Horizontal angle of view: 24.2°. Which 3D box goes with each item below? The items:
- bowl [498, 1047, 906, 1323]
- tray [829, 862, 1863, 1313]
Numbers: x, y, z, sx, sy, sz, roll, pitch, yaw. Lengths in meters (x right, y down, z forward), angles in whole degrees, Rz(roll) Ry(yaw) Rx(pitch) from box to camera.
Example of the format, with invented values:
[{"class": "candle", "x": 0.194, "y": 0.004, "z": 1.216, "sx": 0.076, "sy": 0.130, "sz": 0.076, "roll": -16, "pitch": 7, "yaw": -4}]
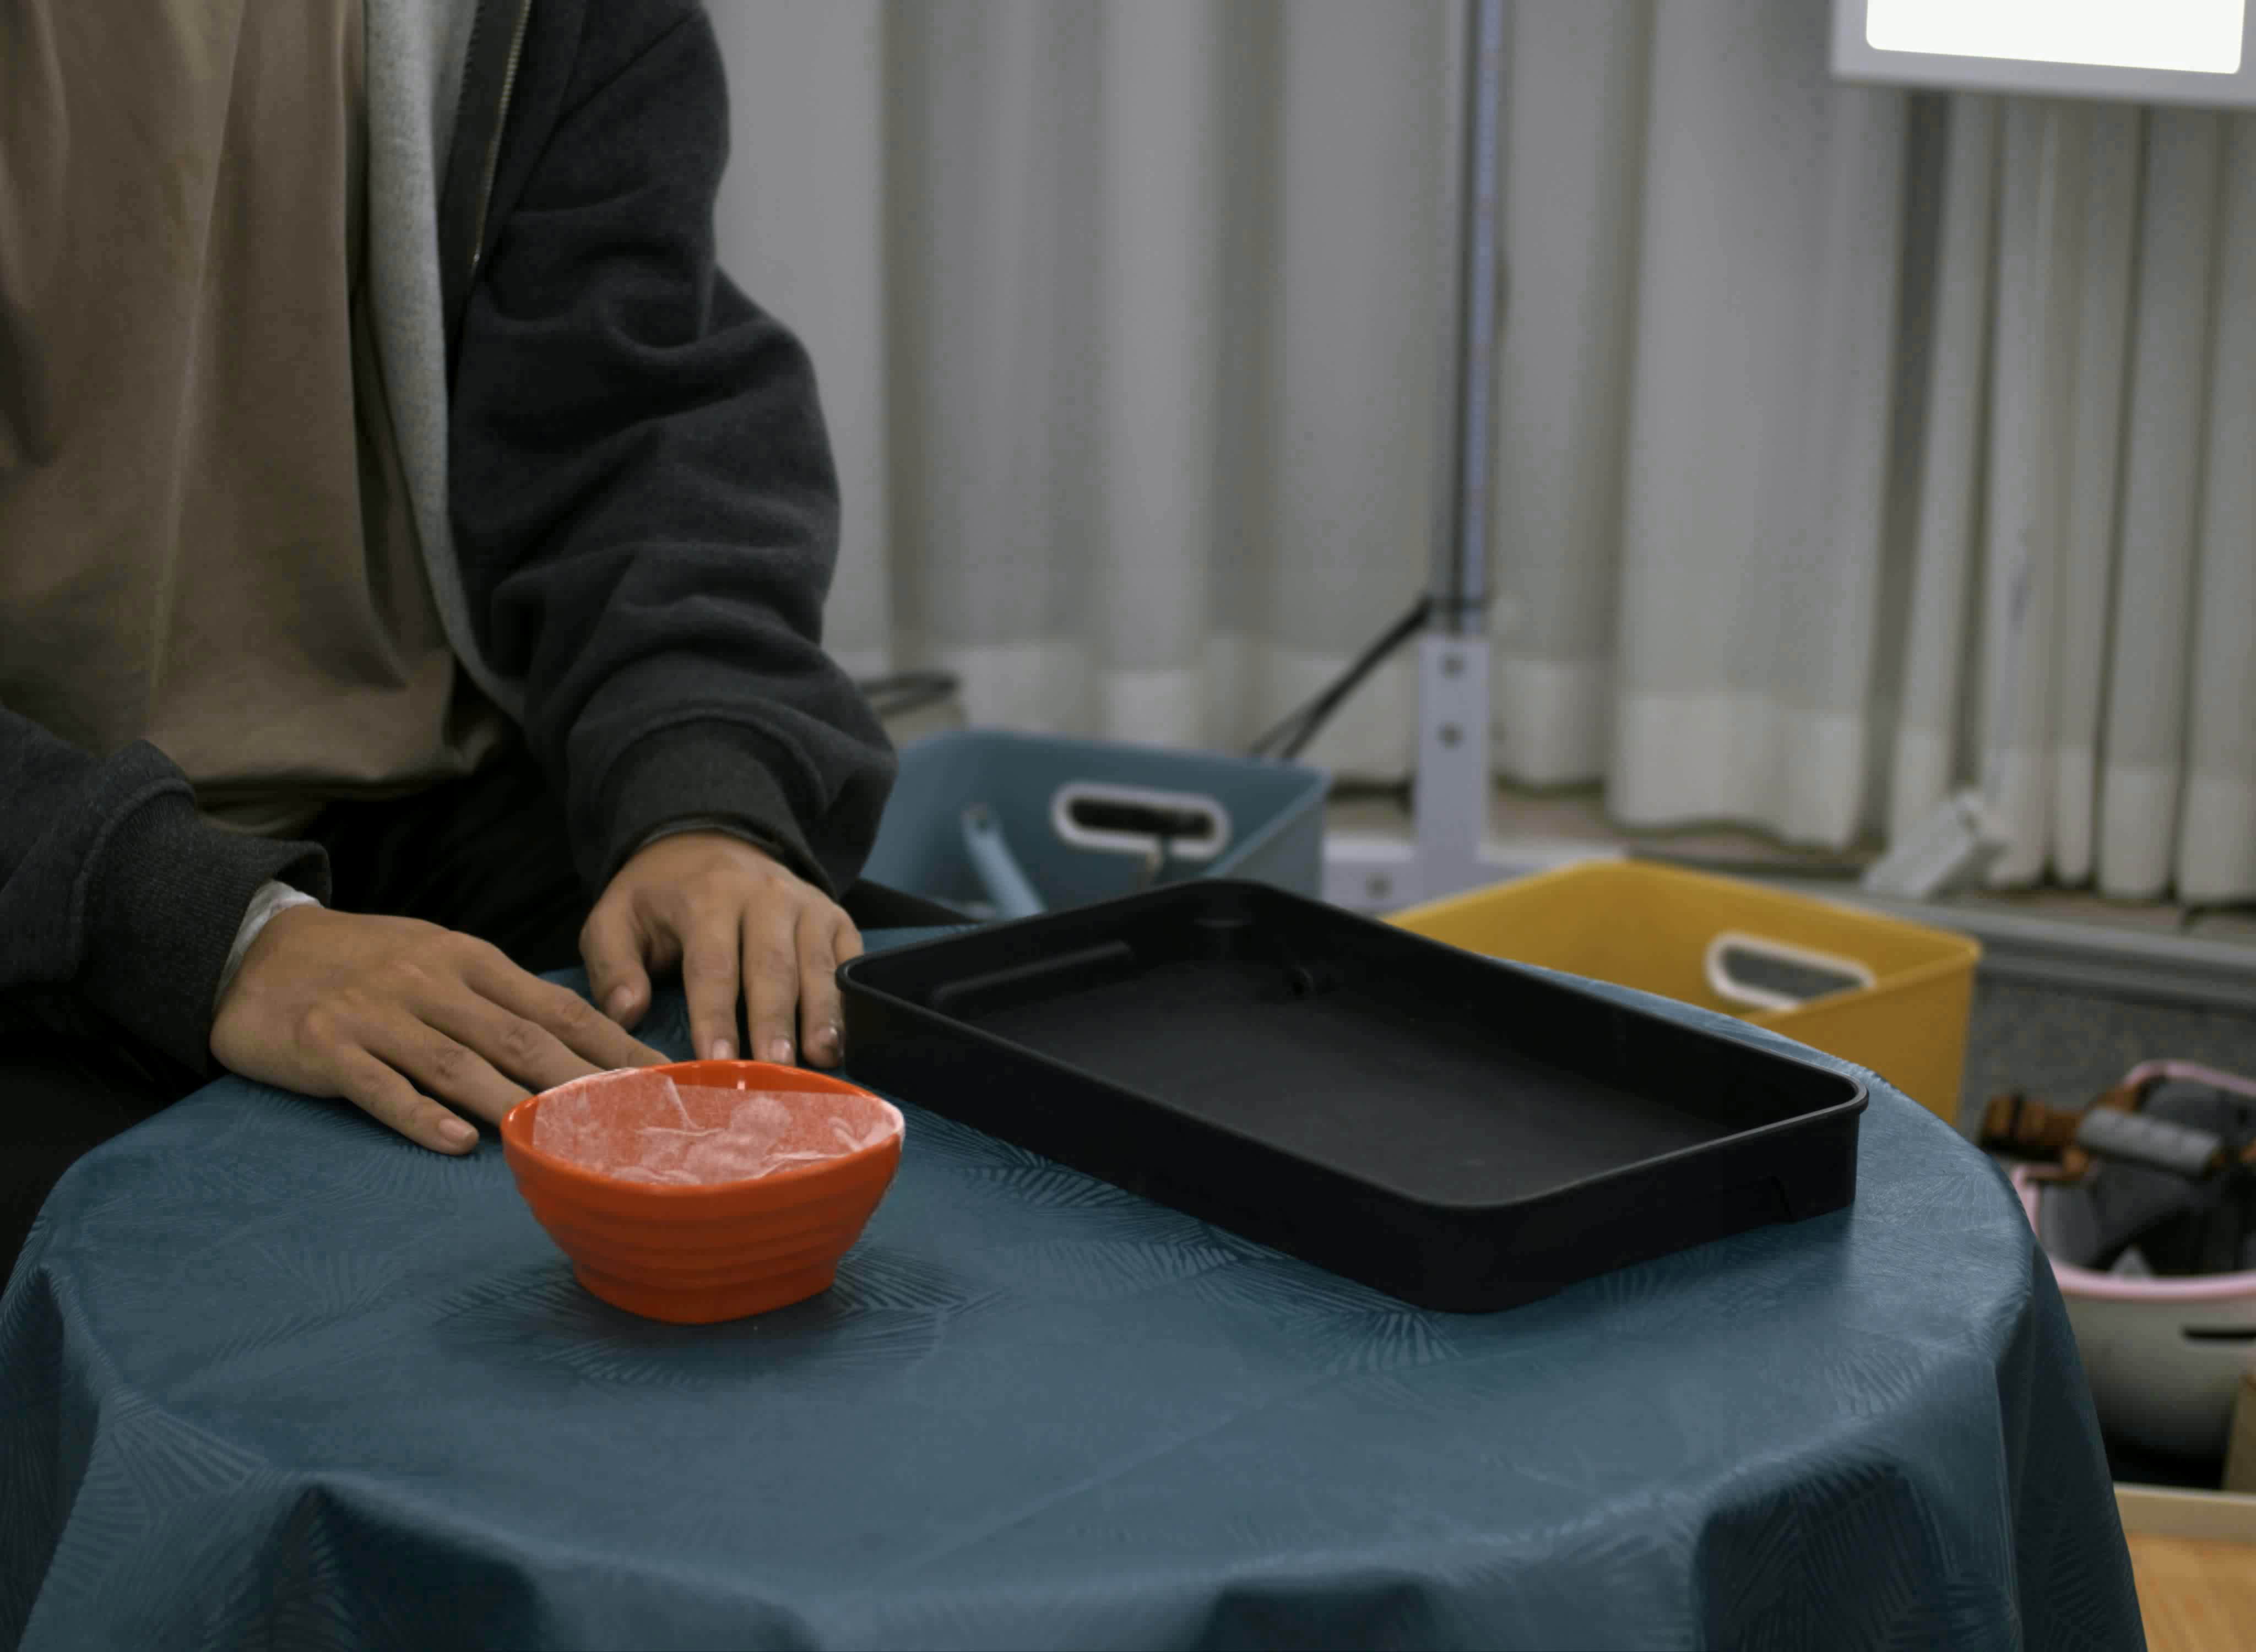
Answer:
[{"class": "bowl", "x": -0.124, "y": 0.107, "z": 1.535, "sx": 0.118, "sy": 0.052, "sz": 0.118, "roll": 1, "pitch": 18, "yaw": 0}, {"class": "tray", "x": 0.063, "y": 0.077, "z": 1.676, "sx": 0.185, "sy": 0.037, "sz": 0.313, "roll": -12, "pitch": 21, "yaw": -39}]
